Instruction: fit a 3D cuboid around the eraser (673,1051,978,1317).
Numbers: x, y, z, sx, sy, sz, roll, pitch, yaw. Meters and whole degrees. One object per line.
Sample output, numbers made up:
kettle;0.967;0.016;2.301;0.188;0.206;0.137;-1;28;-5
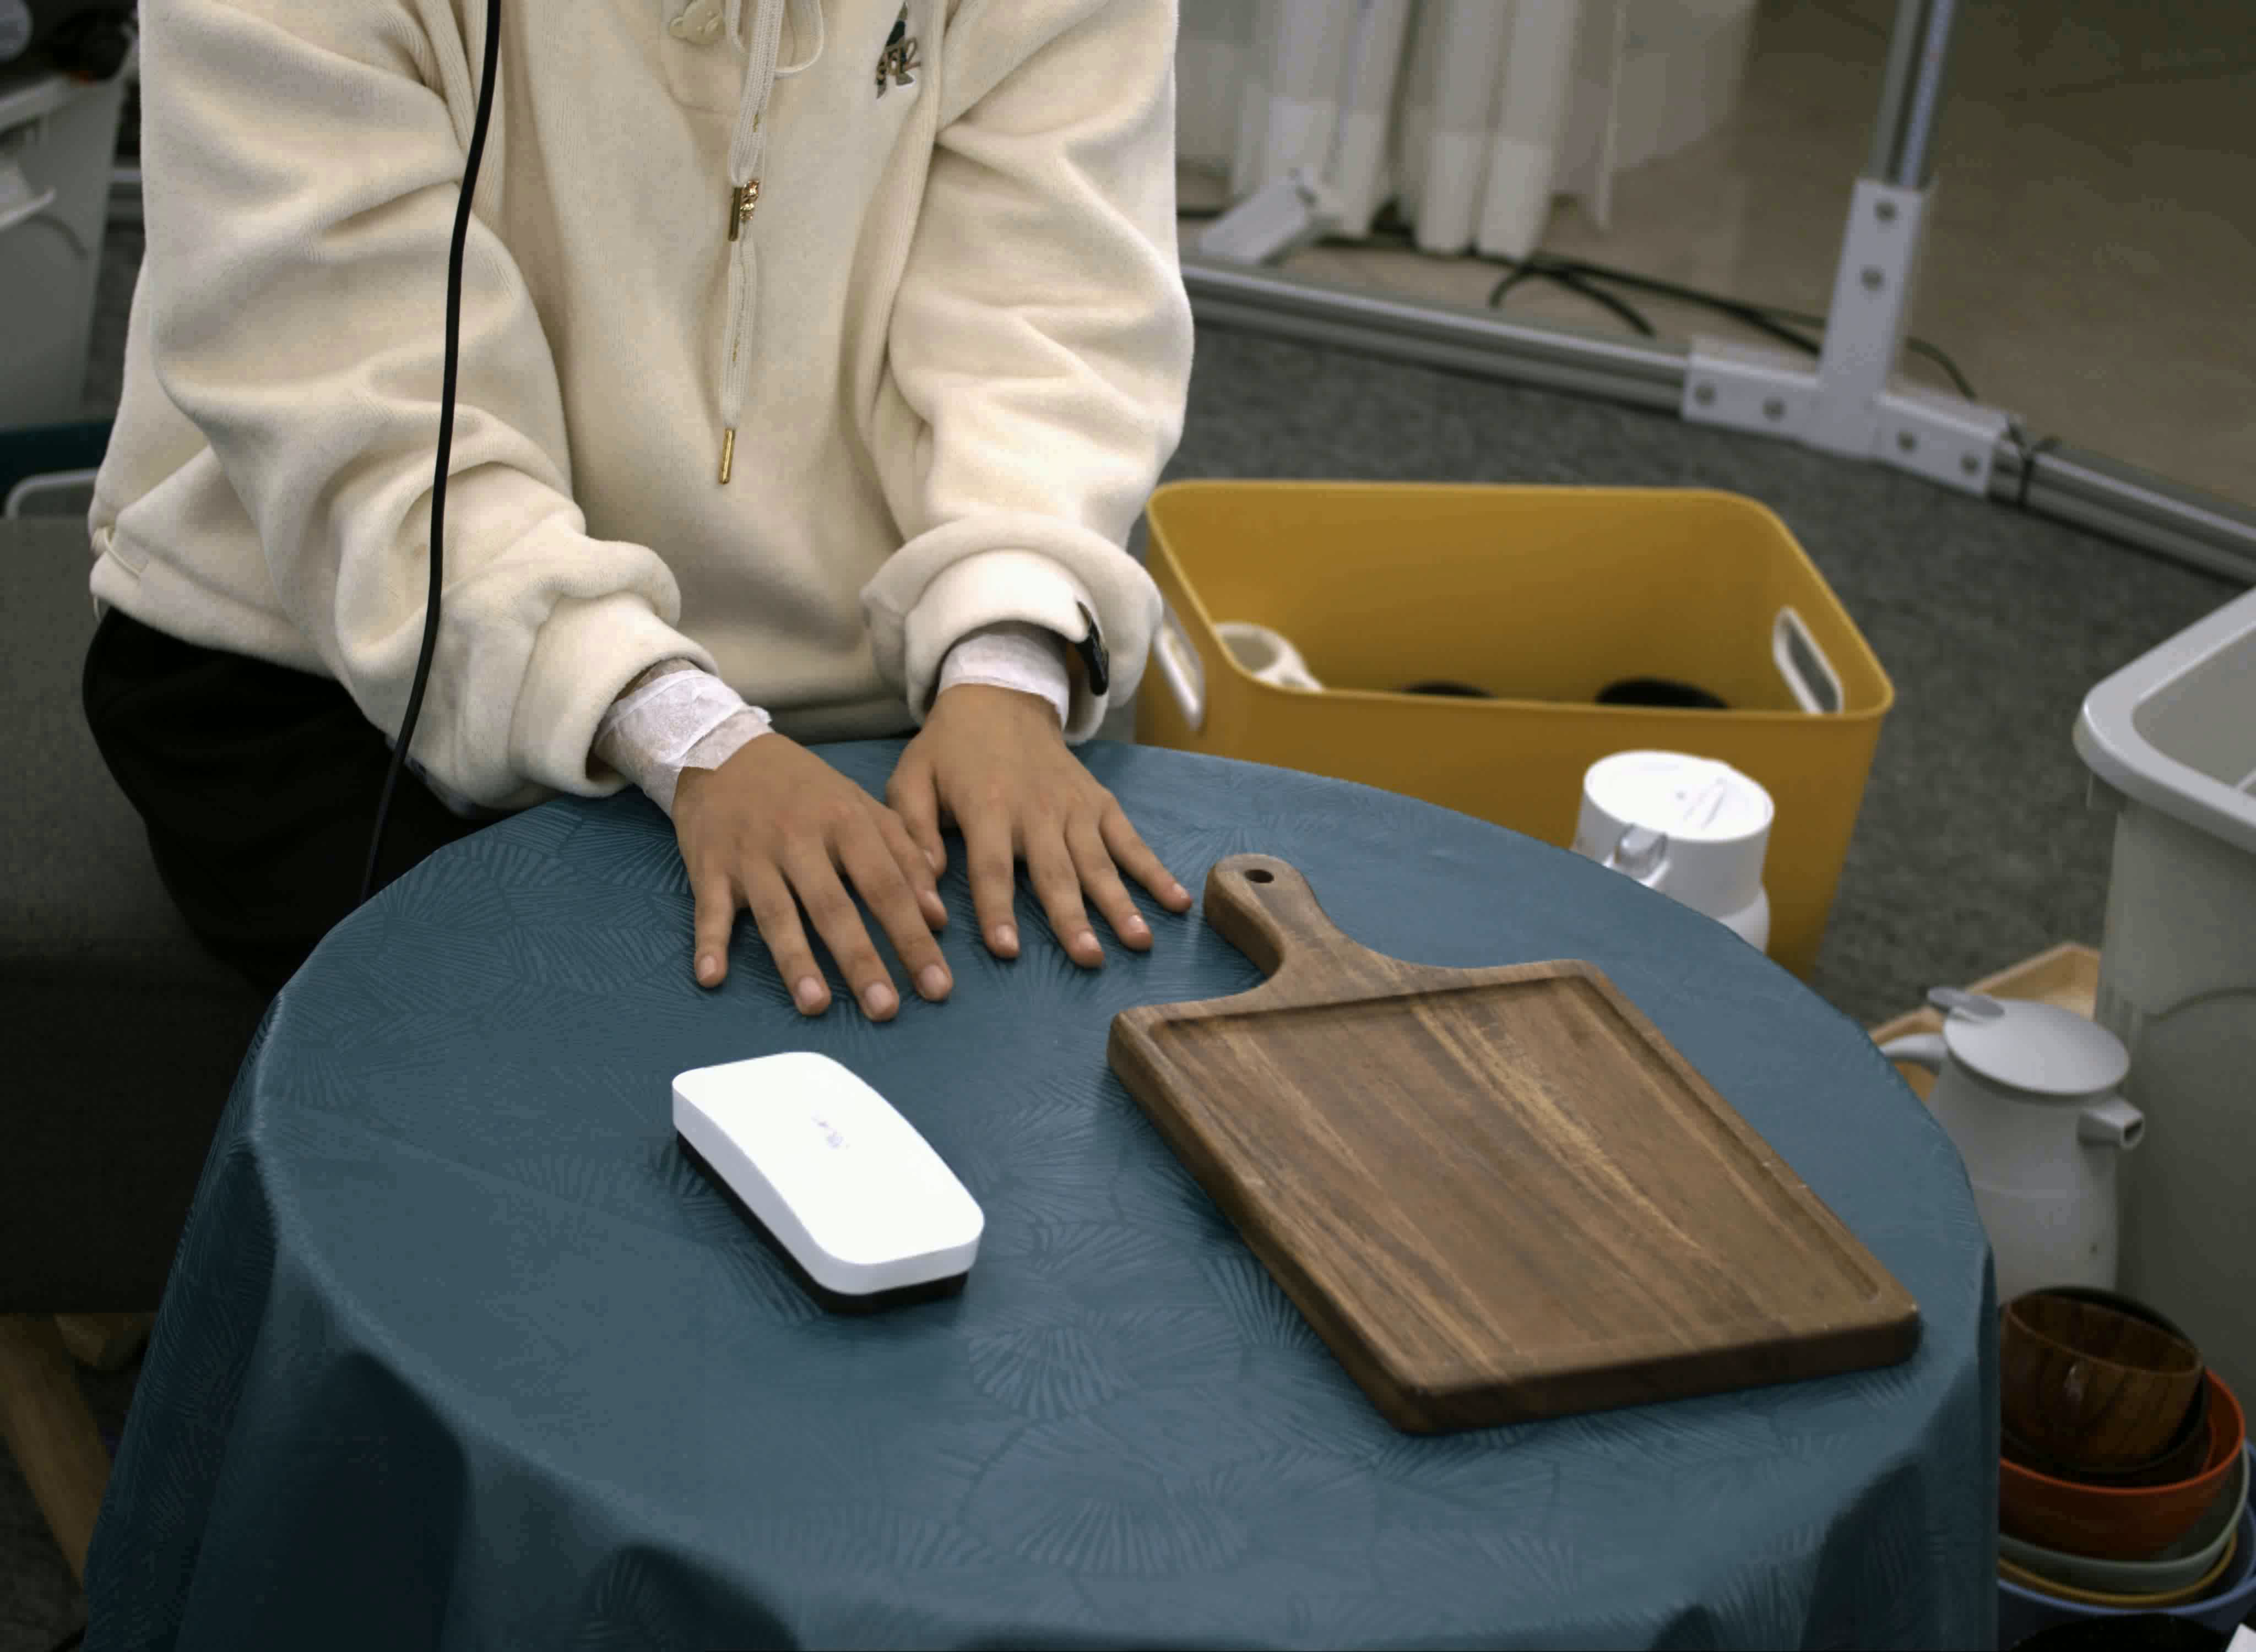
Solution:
eraser;-0.101;0.115;1.764;0.063;0.034;0.132;-9;31;-27

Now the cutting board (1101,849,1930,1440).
cutting board;0.108;0.098;1.853;0.200;0.023;0.355;-6;29;-24
